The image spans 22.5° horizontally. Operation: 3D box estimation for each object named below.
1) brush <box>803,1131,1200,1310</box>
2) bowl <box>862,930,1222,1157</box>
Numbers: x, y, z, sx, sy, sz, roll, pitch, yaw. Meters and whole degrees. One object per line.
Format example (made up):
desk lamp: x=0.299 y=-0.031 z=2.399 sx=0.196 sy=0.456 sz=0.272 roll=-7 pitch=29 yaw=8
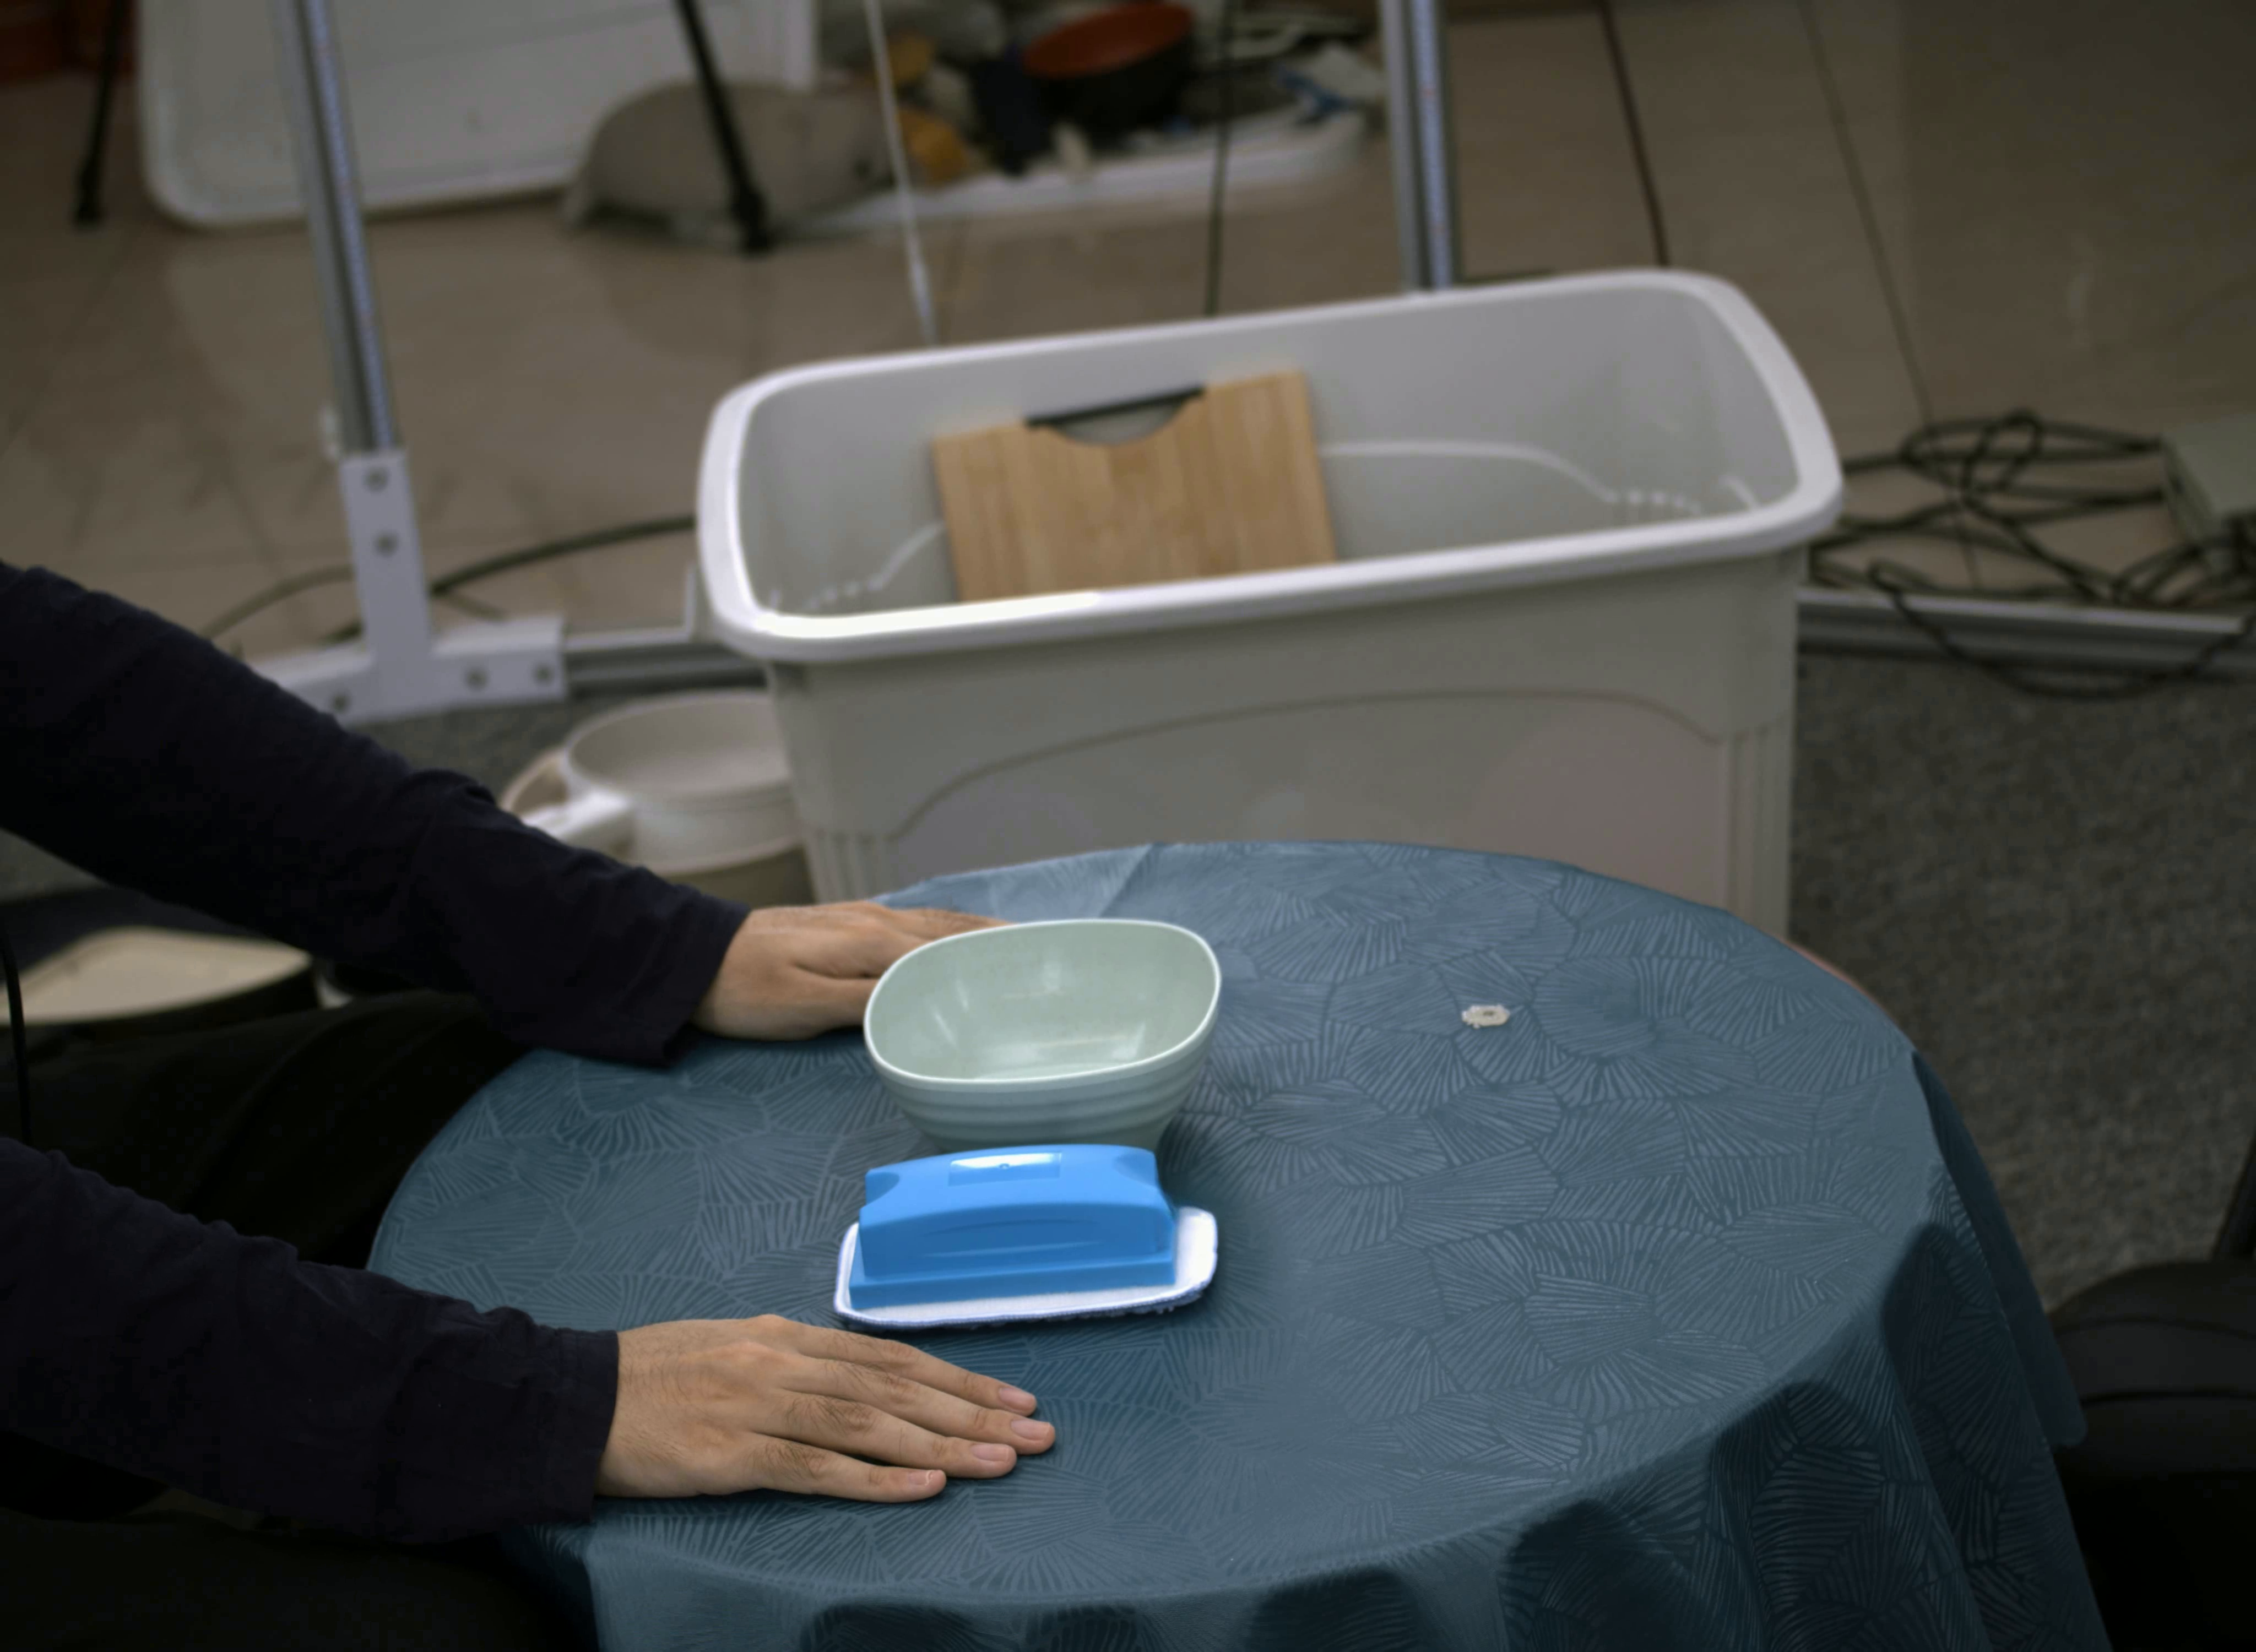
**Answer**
brush: x=-0.047 y=0.142 z=2.079 sx=0.144 sy=0.057 sz=0.083 roll=-2 pitch=22 yaw=5
bowl: x=-0.030 y=0.094 z=2.187 sx=0.151 sy=0.059 sz=0.149 roll=-5 pitch=23 yaw=2
